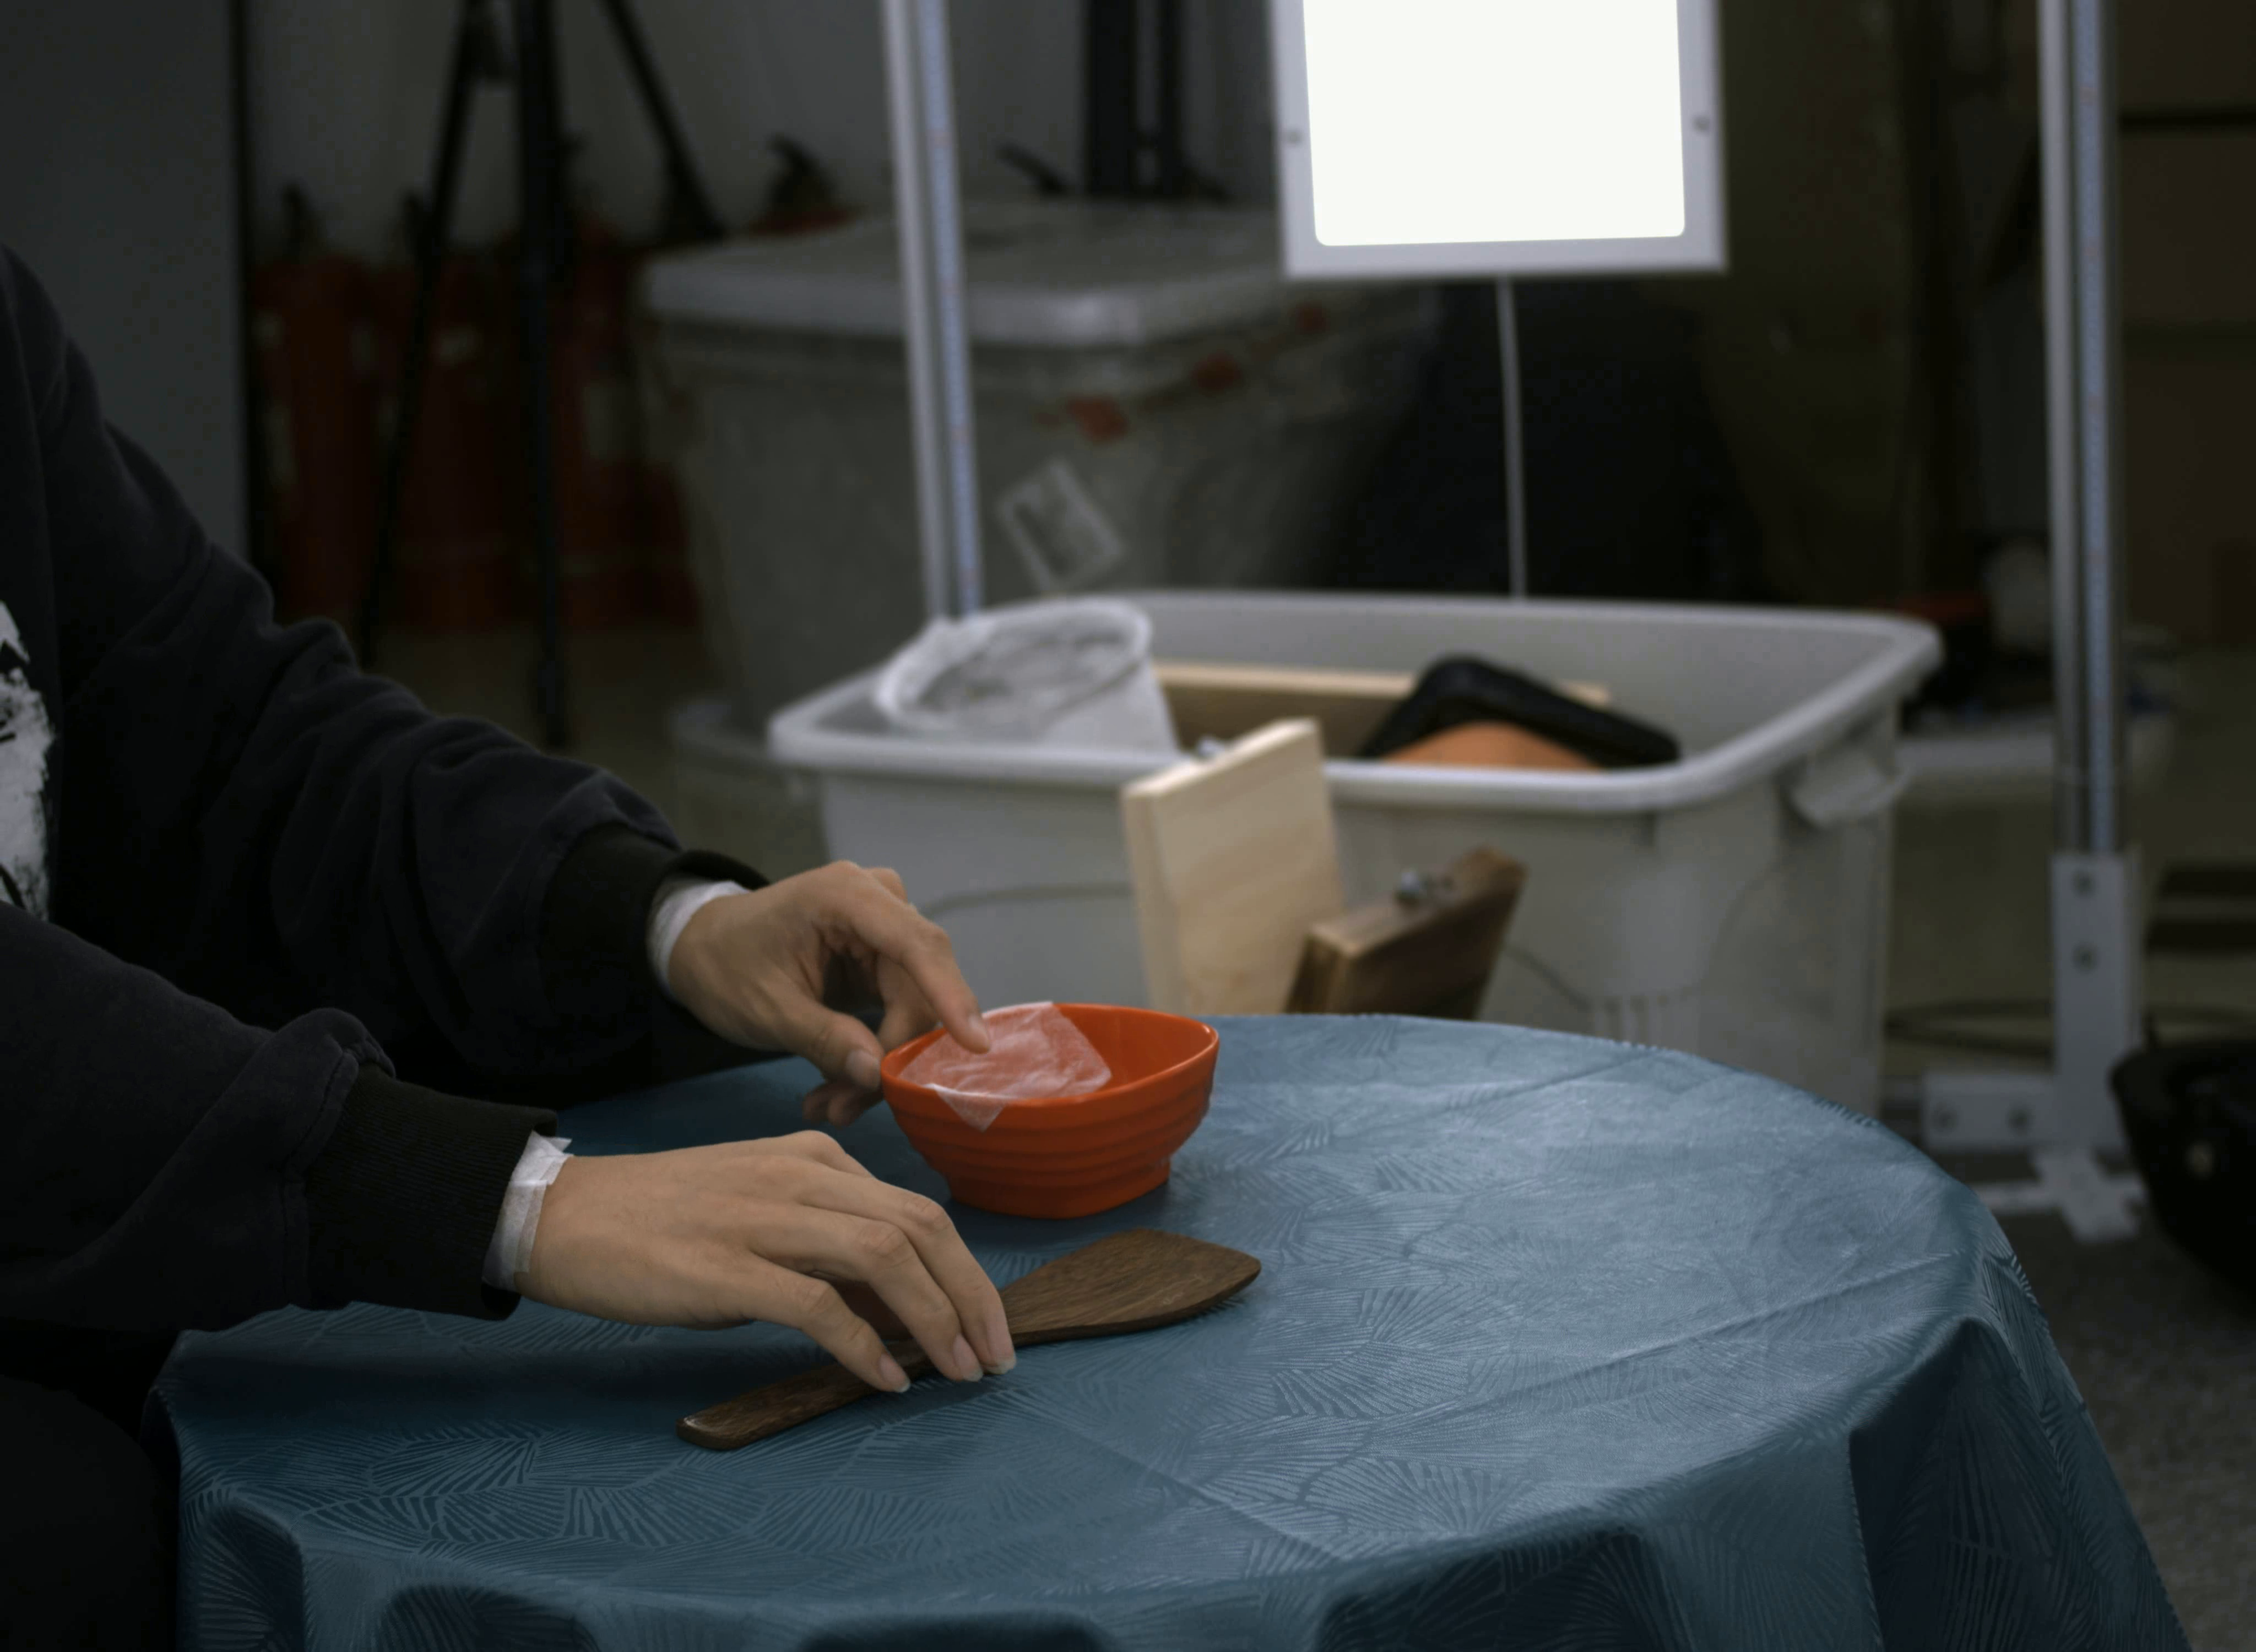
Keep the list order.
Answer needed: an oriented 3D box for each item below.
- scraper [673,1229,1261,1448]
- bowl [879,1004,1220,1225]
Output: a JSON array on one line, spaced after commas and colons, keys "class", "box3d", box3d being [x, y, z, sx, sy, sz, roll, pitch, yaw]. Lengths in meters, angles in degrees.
[{"class": "scraper", "box3d": [-0.054, 0.164, 1.748, 0.206, 0.011, 0.077, -16, 16, -36]}, {"class": "bowl", "box3d": [-0.026, 0.102, 1.905, 0.118, 0.051, 0.119, -4, 15, 0]}]
